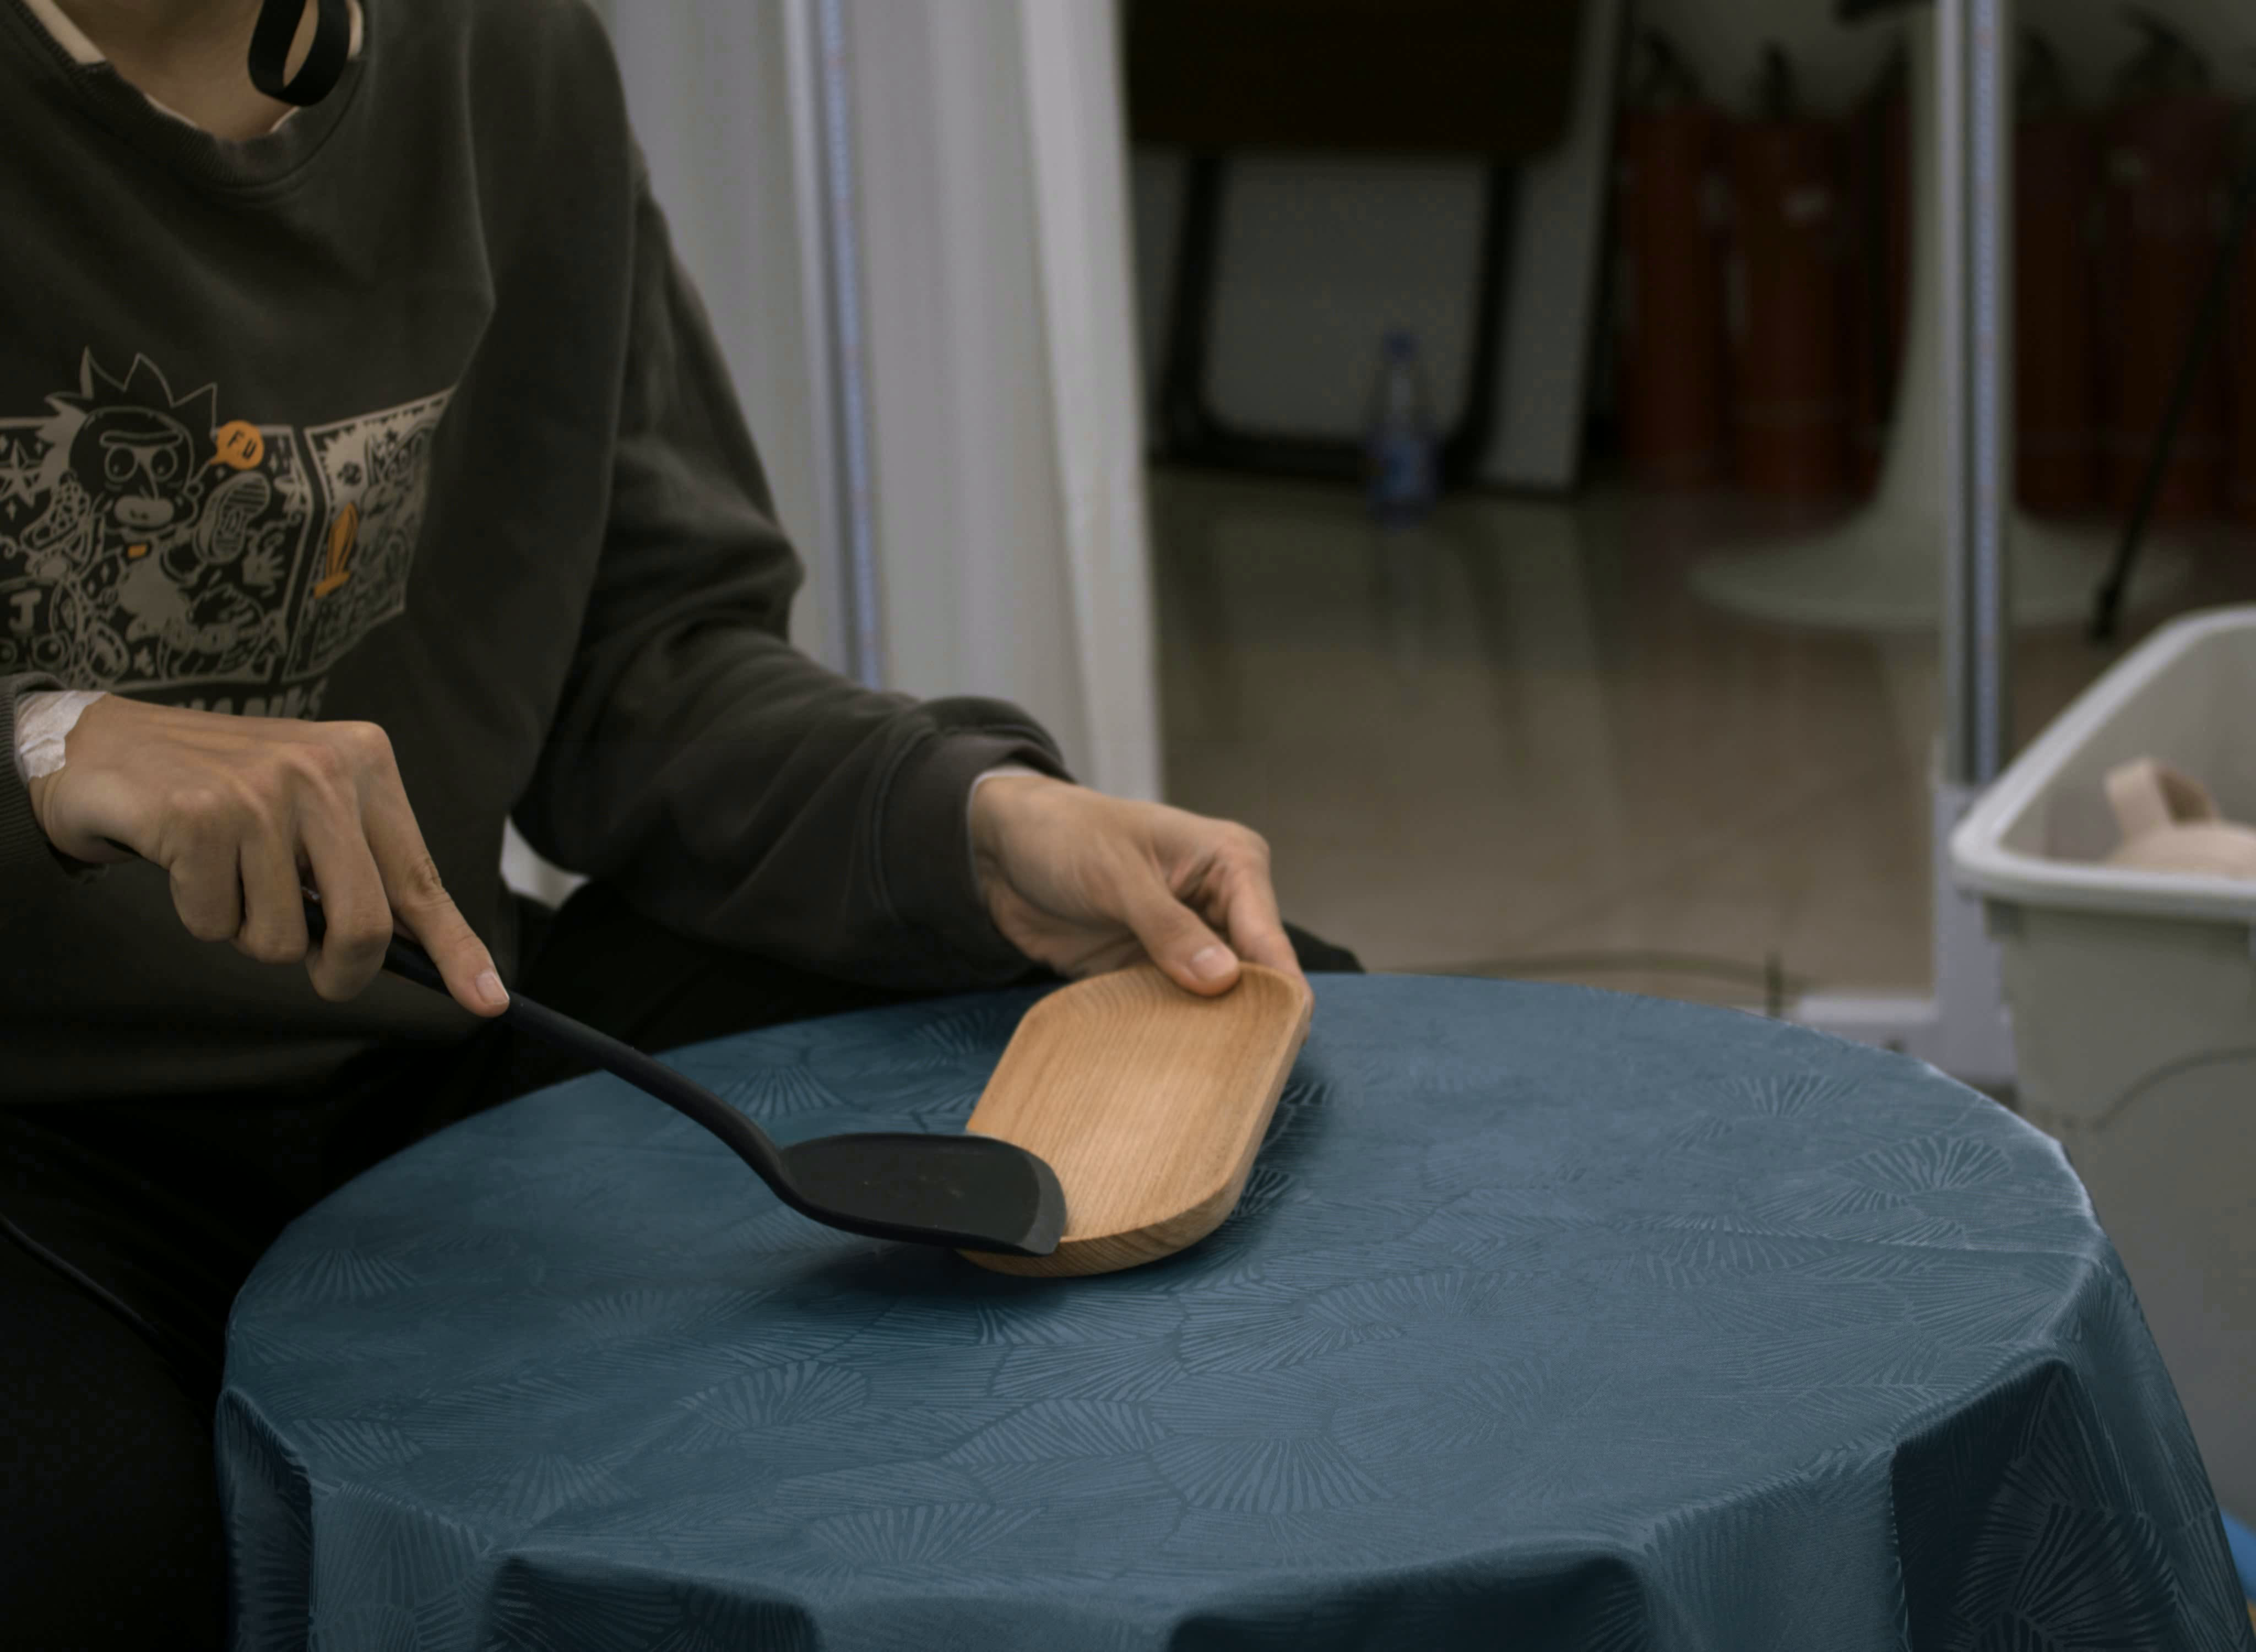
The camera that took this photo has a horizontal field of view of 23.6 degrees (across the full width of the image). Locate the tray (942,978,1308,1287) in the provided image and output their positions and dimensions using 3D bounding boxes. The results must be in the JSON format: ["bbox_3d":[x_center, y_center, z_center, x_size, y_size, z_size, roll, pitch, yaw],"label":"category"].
[{"bbox_3d":[0.000,0.099,1.786,0.101,0.020,0.230,-5,20,14],"label":"tray"}]

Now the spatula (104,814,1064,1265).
[{"bbox_3d":[-0.169,0.064,1.697,0.323,0.041,0.100,29,11,-6],"label":"spatula"}]
